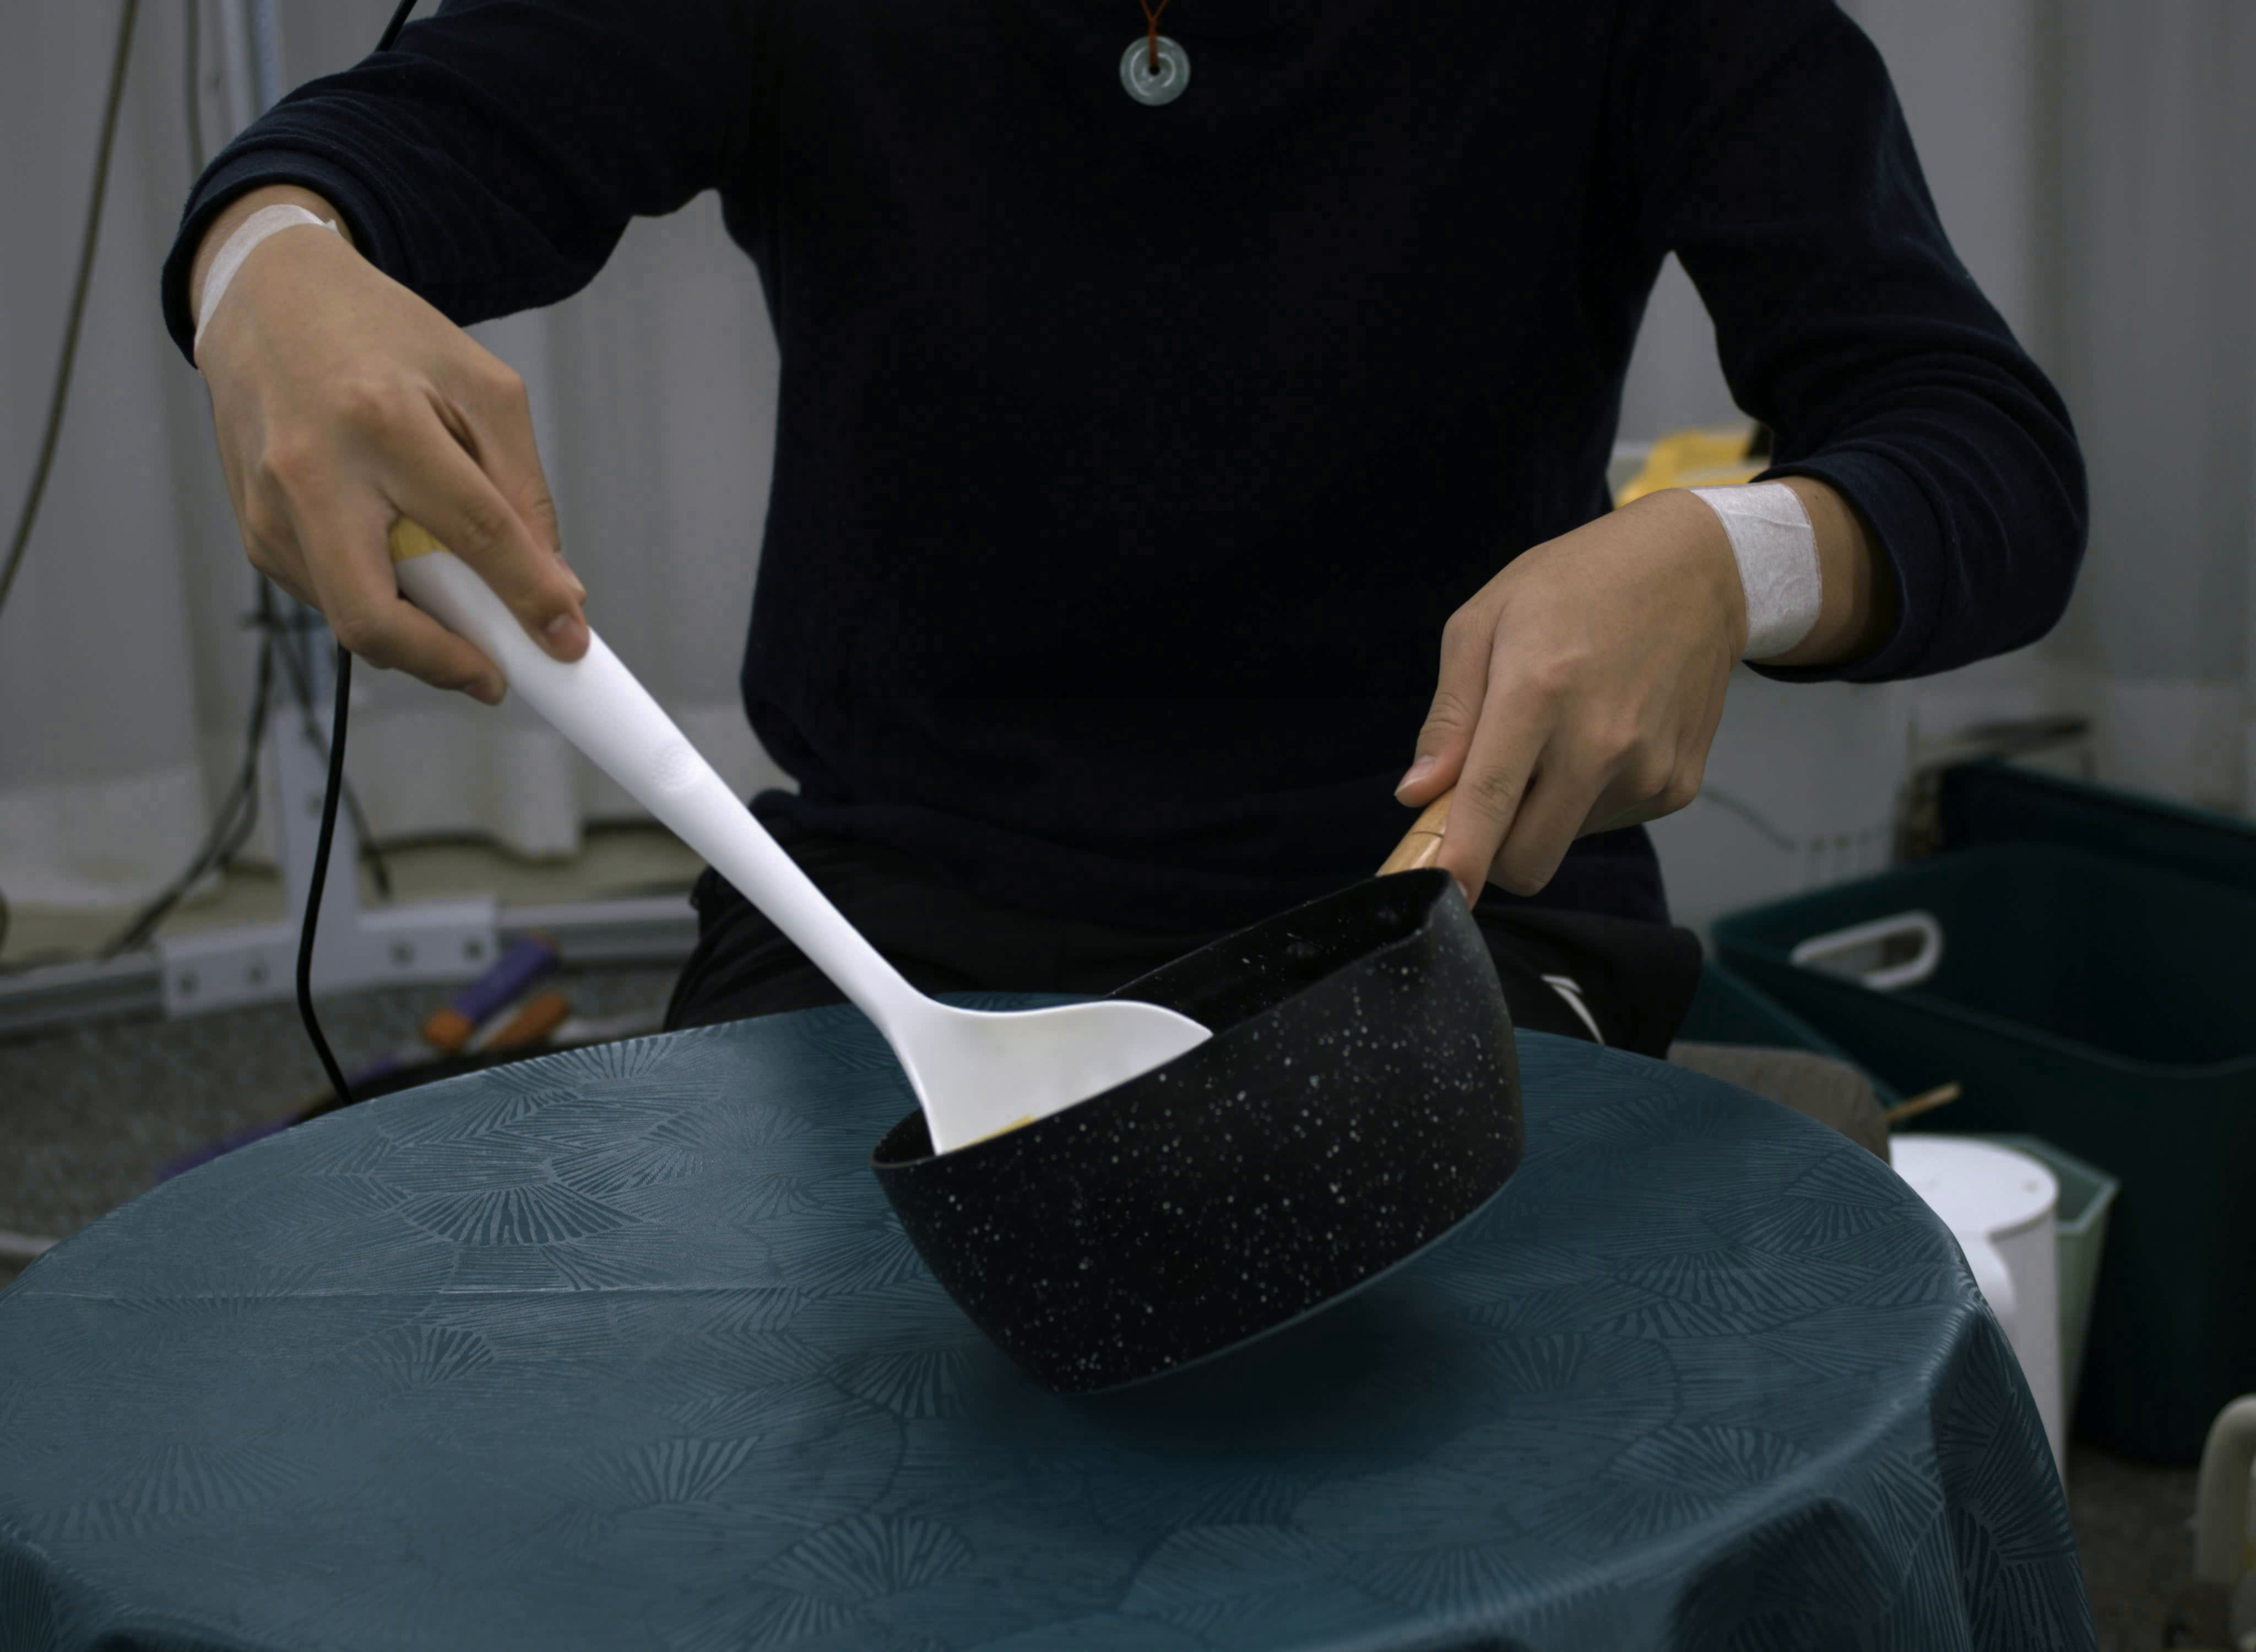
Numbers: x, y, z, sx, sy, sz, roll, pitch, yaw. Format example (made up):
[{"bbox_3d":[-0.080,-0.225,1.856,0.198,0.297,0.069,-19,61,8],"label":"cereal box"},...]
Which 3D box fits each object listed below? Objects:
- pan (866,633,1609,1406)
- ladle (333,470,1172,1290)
[{"bbox_3d":[0.066,0.051,1.602,0.207,0.108,0.344,-22,8,40],"label":"pan"},{"bbox_3d":[-0.101,0.010,1.502,0.090,0.292,0.070,-46,3,-20],"label":"ladle"}]
